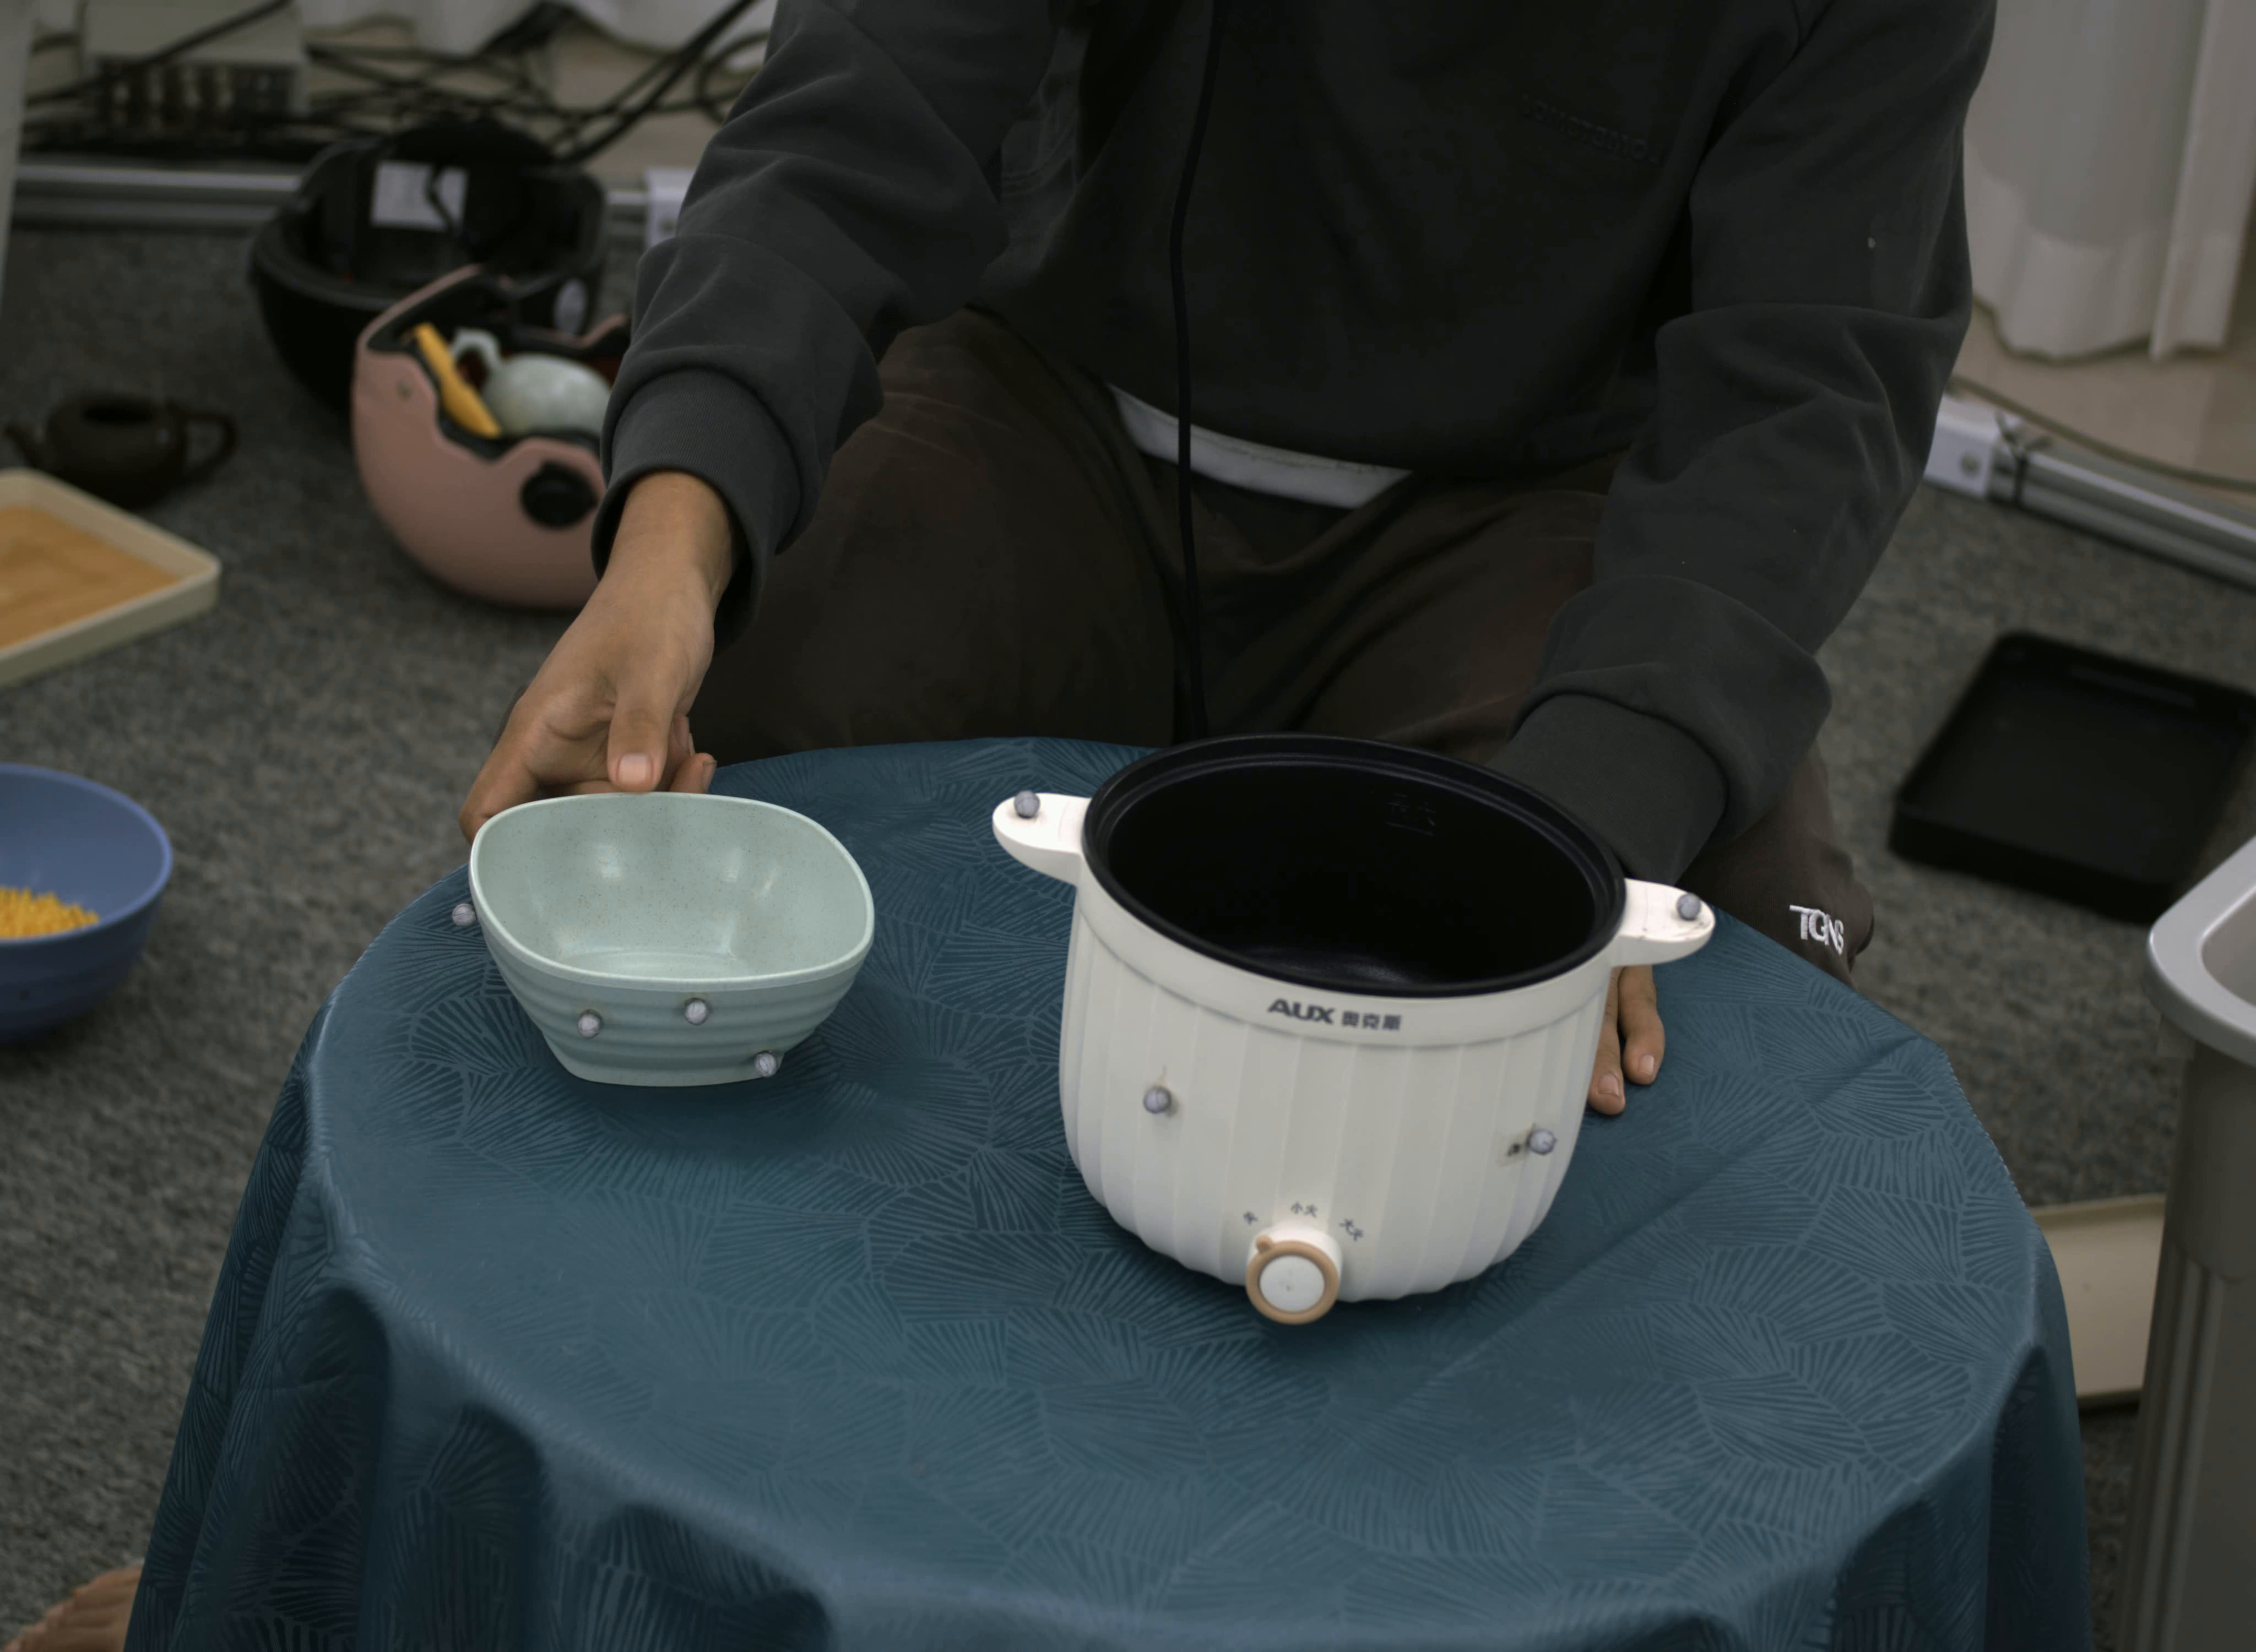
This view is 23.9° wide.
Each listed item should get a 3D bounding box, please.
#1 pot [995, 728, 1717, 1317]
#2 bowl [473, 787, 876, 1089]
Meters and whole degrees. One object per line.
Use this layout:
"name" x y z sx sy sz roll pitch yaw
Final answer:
"pot" 0.069 0.069 1.776 0.240 0.142 0.191 6 23 2
"bowl" -0.160 0.045 1.861 0.151 0.058 0.152 5 29 -3
